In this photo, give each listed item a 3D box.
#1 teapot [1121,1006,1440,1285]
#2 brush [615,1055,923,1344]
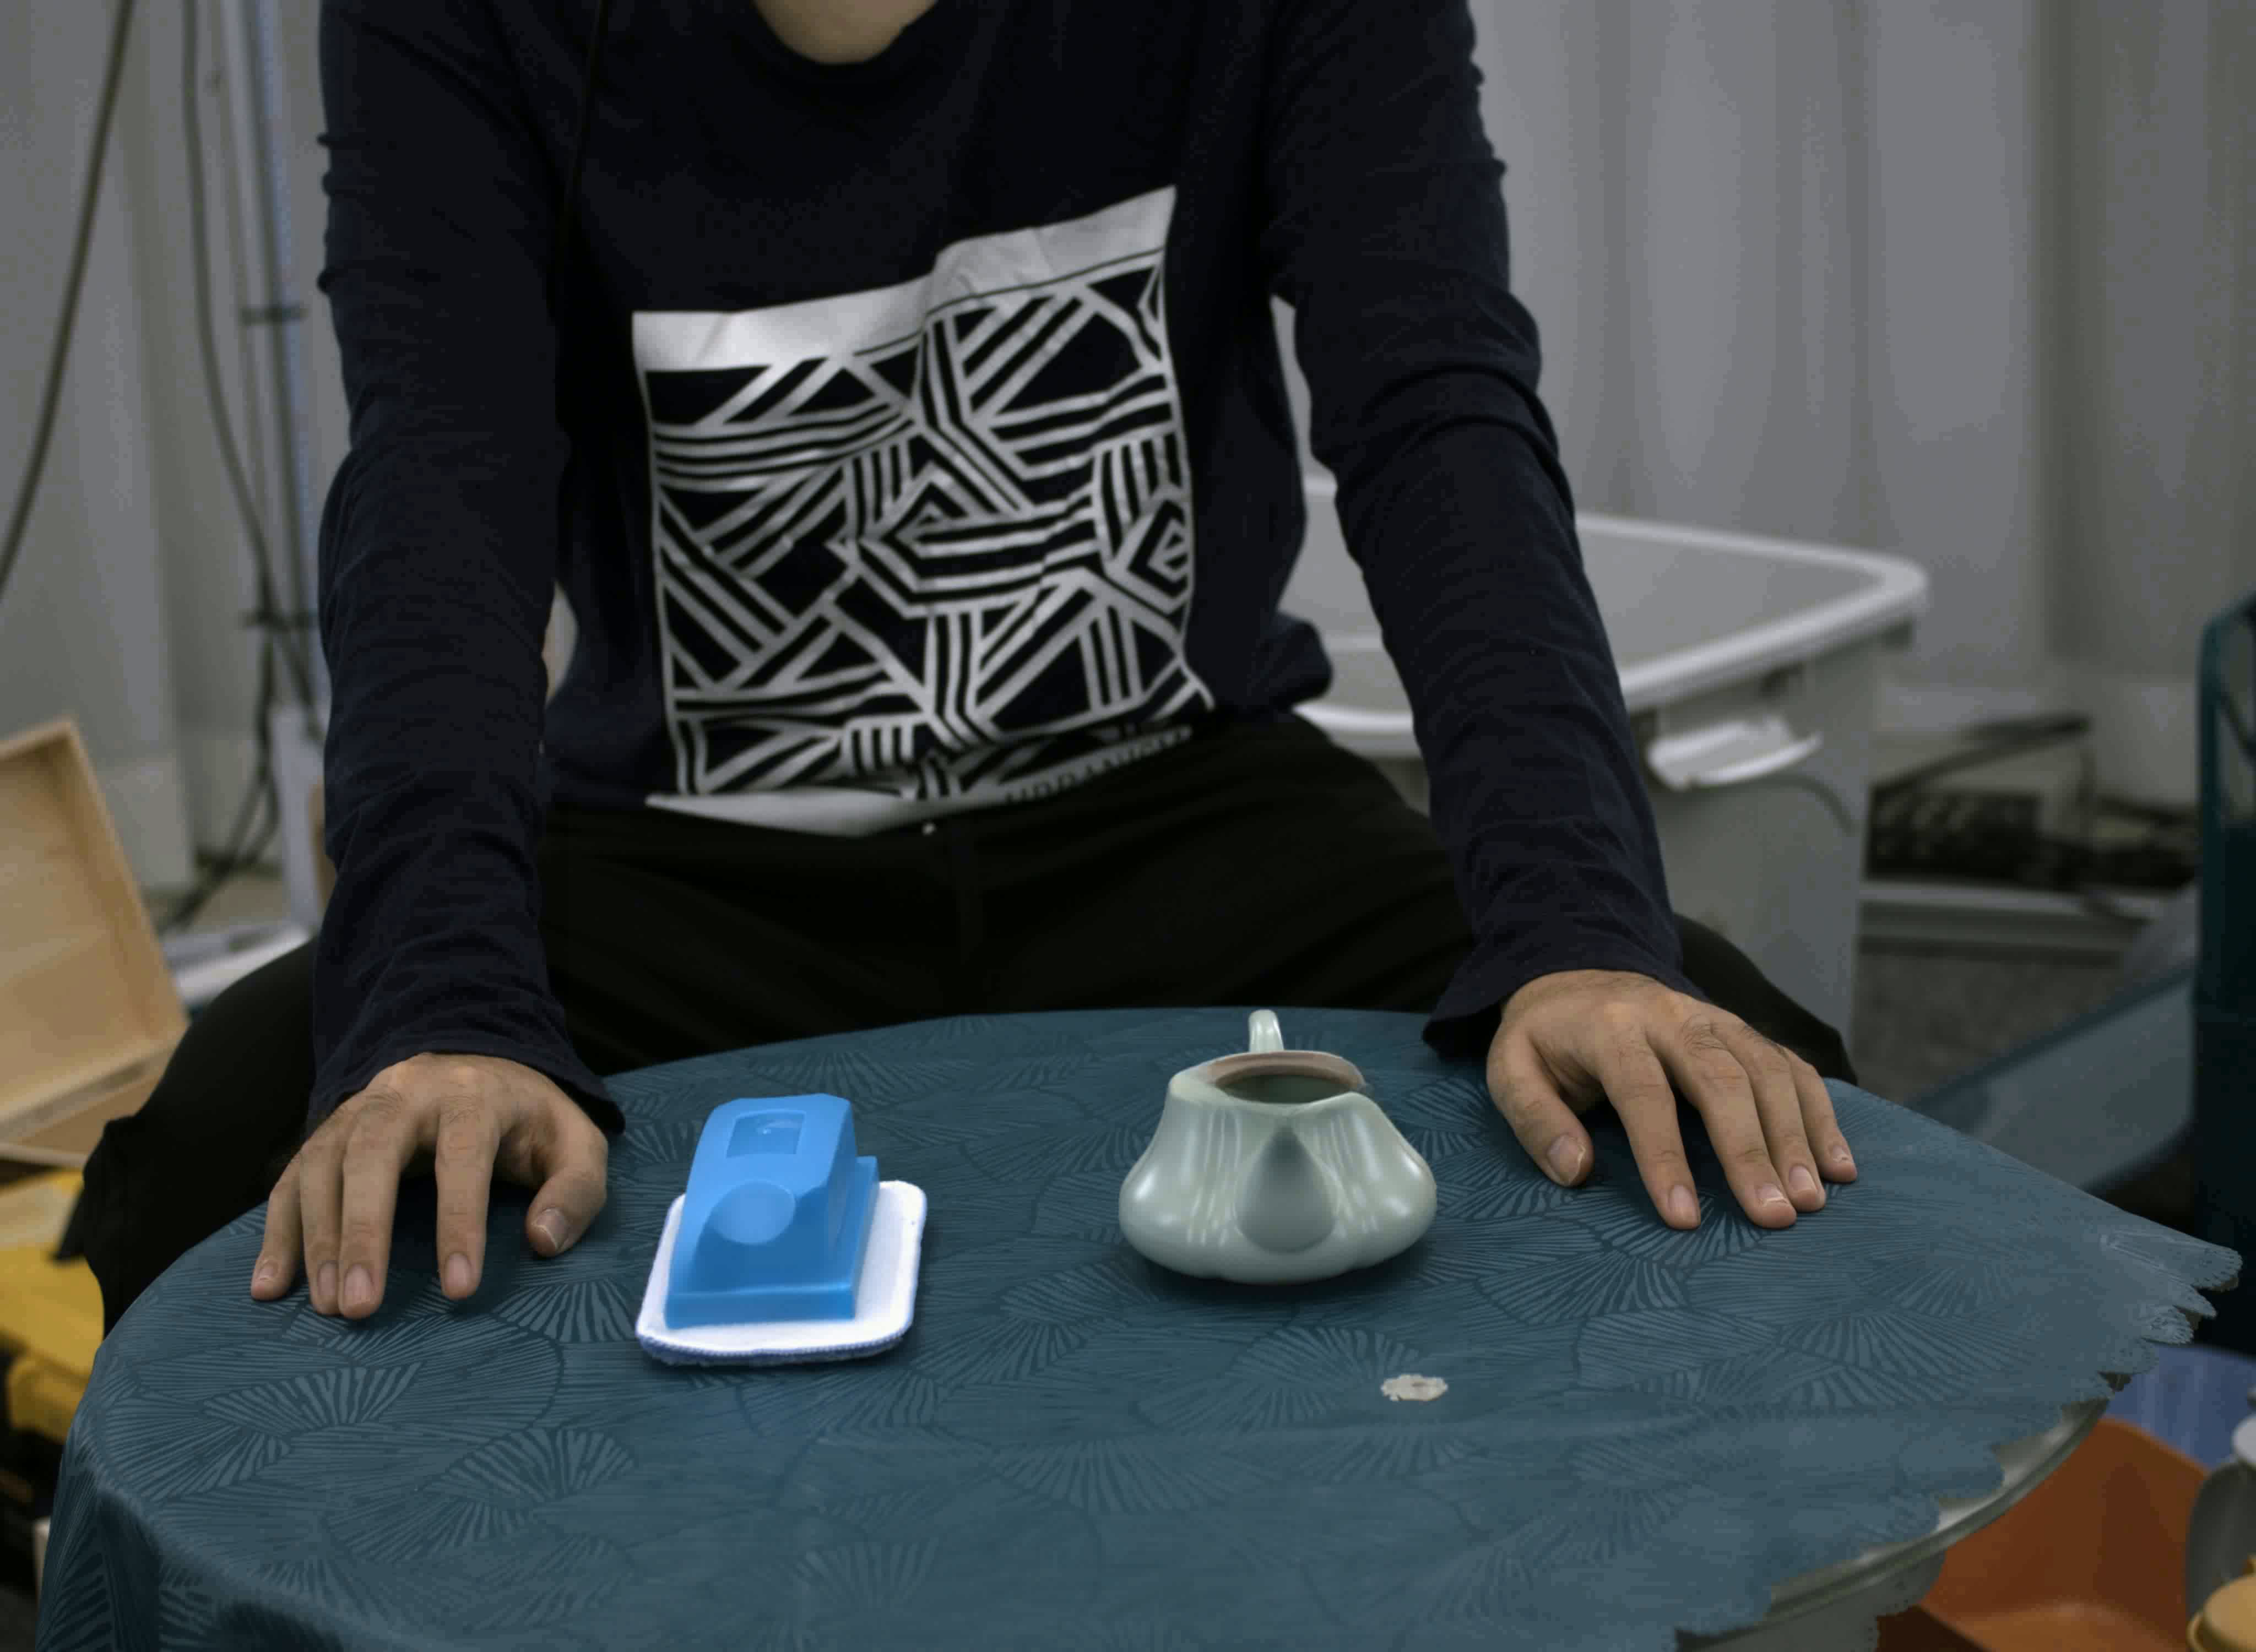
[{"bbox_3d":[0.045,0.099,1.647,0.096,0.061,0.138,-6,16,-2],"label":"teapot"},{"bbox_3d":[-0.107,0.109,1.640,0.083,0.055,0.145,1,18,2],"label":"brush"}]
